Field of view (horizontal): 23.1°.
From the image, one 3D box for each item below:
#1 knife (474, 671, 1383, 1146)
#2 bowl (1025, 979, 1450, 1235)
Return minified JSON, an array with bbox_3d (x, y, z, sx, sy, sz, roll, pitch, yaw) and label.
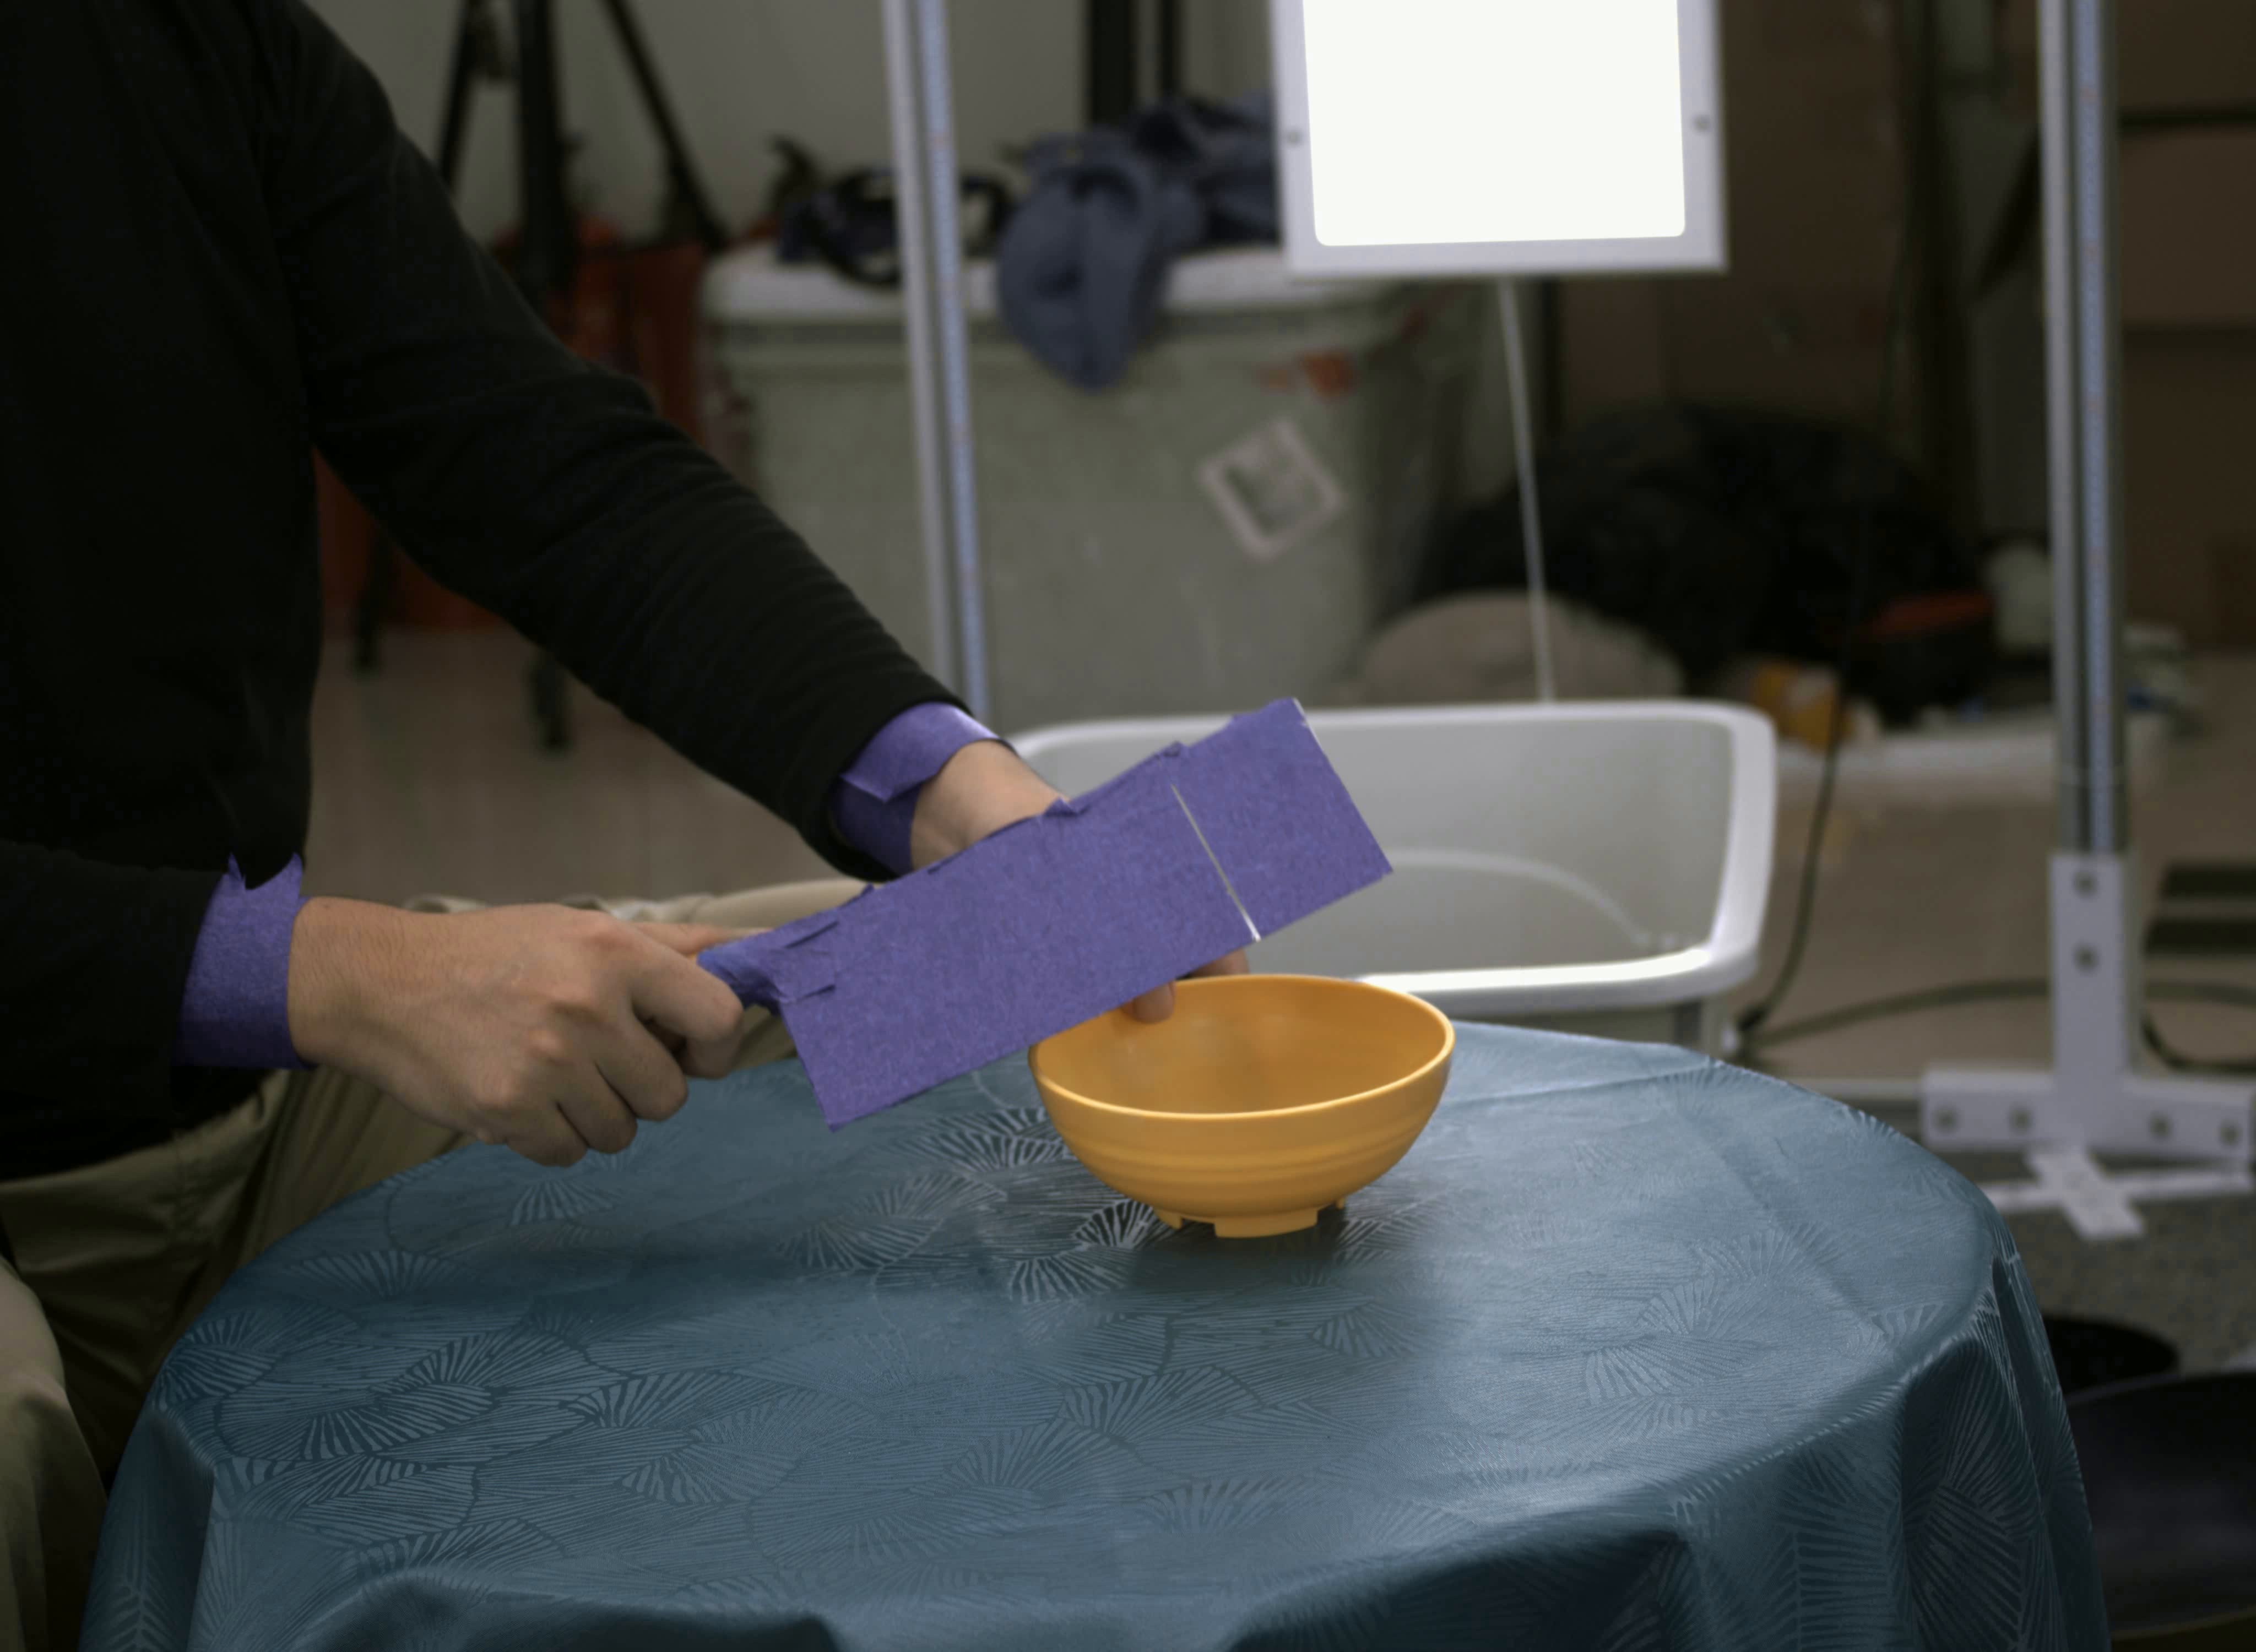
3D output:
[{"bbox_3d":[-0.068,0.047,1.854,0.315,0.032,0.104,-27,48,3],"label":"knife"},{"bbox_3d":[0.038,0.100,1.860,0.145,0.060,0.145,-3,16,-1],"label":"bowl"}]
